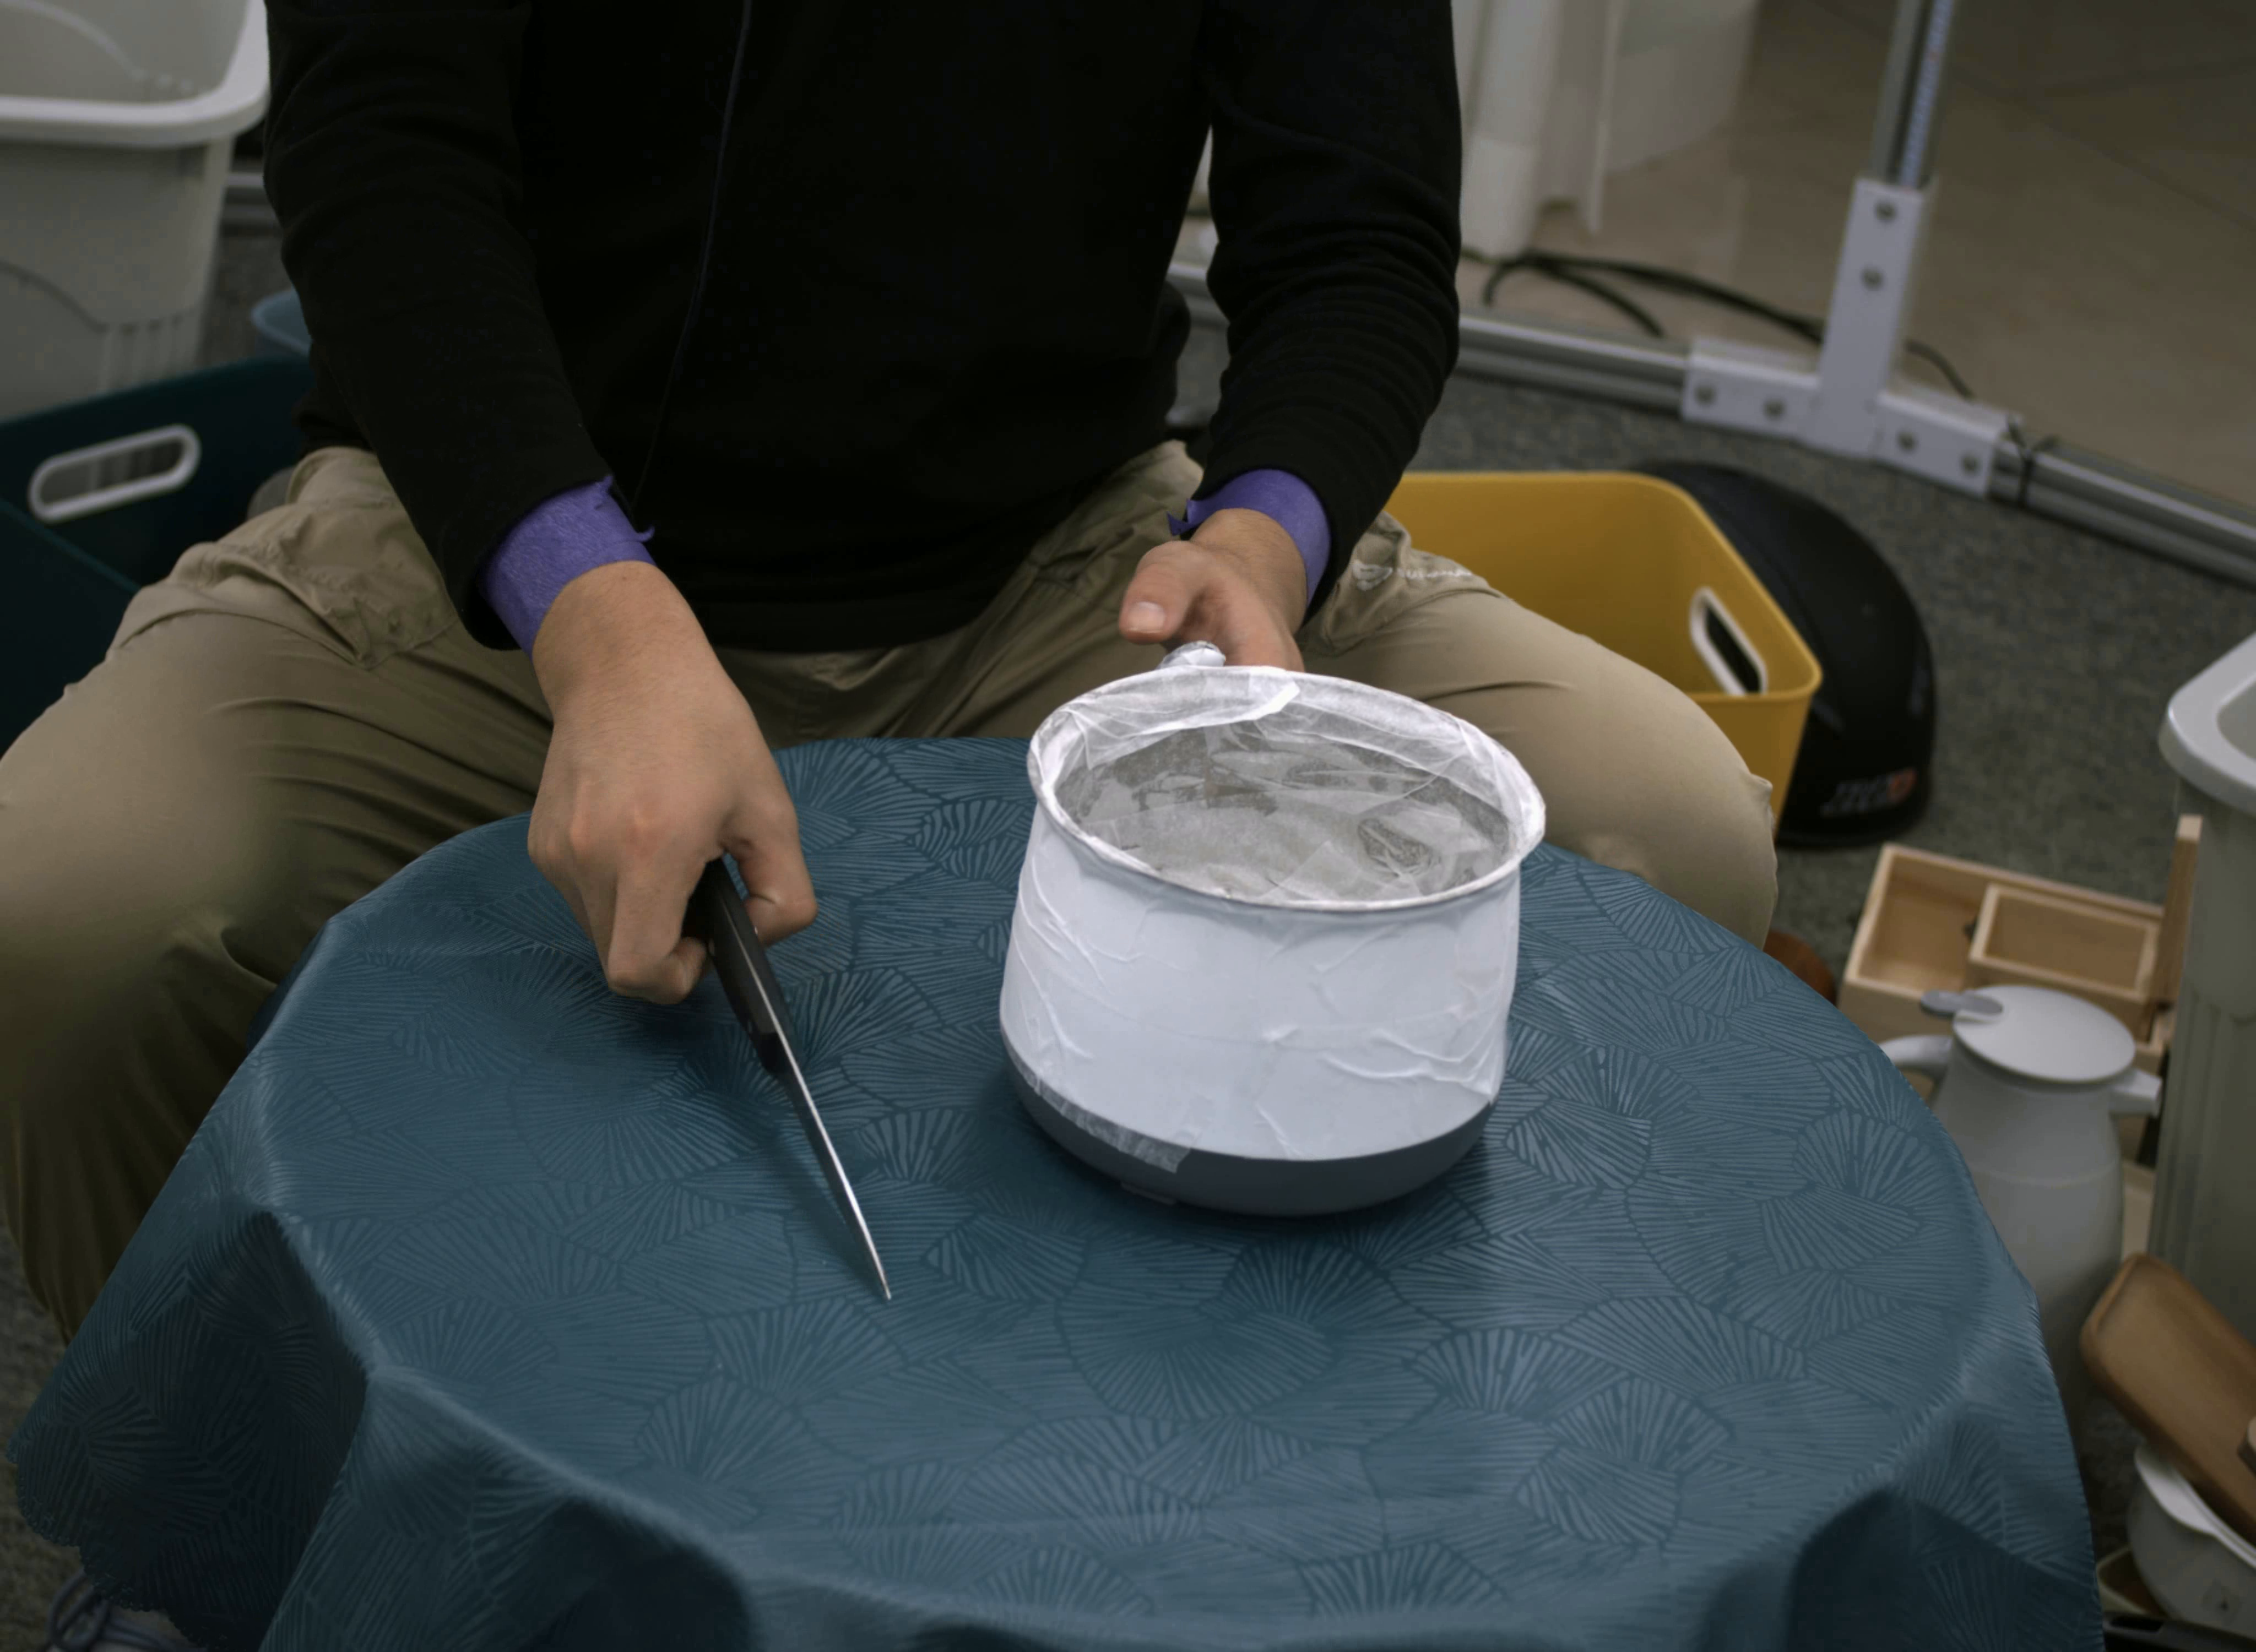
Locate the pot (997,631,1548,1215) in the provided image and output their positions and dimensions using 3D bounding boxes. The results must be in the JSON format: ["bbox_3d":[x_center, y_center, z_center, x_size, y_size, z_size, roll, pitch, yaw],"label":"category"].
[{"bbox_3d":[0.038,0.026,1.849,0.177,0.136,0.236,-2,29,-18],"label":"pot"}]

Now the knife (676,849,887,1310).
[{"bbox_3d":[-0.117,0.082,1.810,0.016,0.024,0.240,-17,42,-10],"label":"knife"}]
